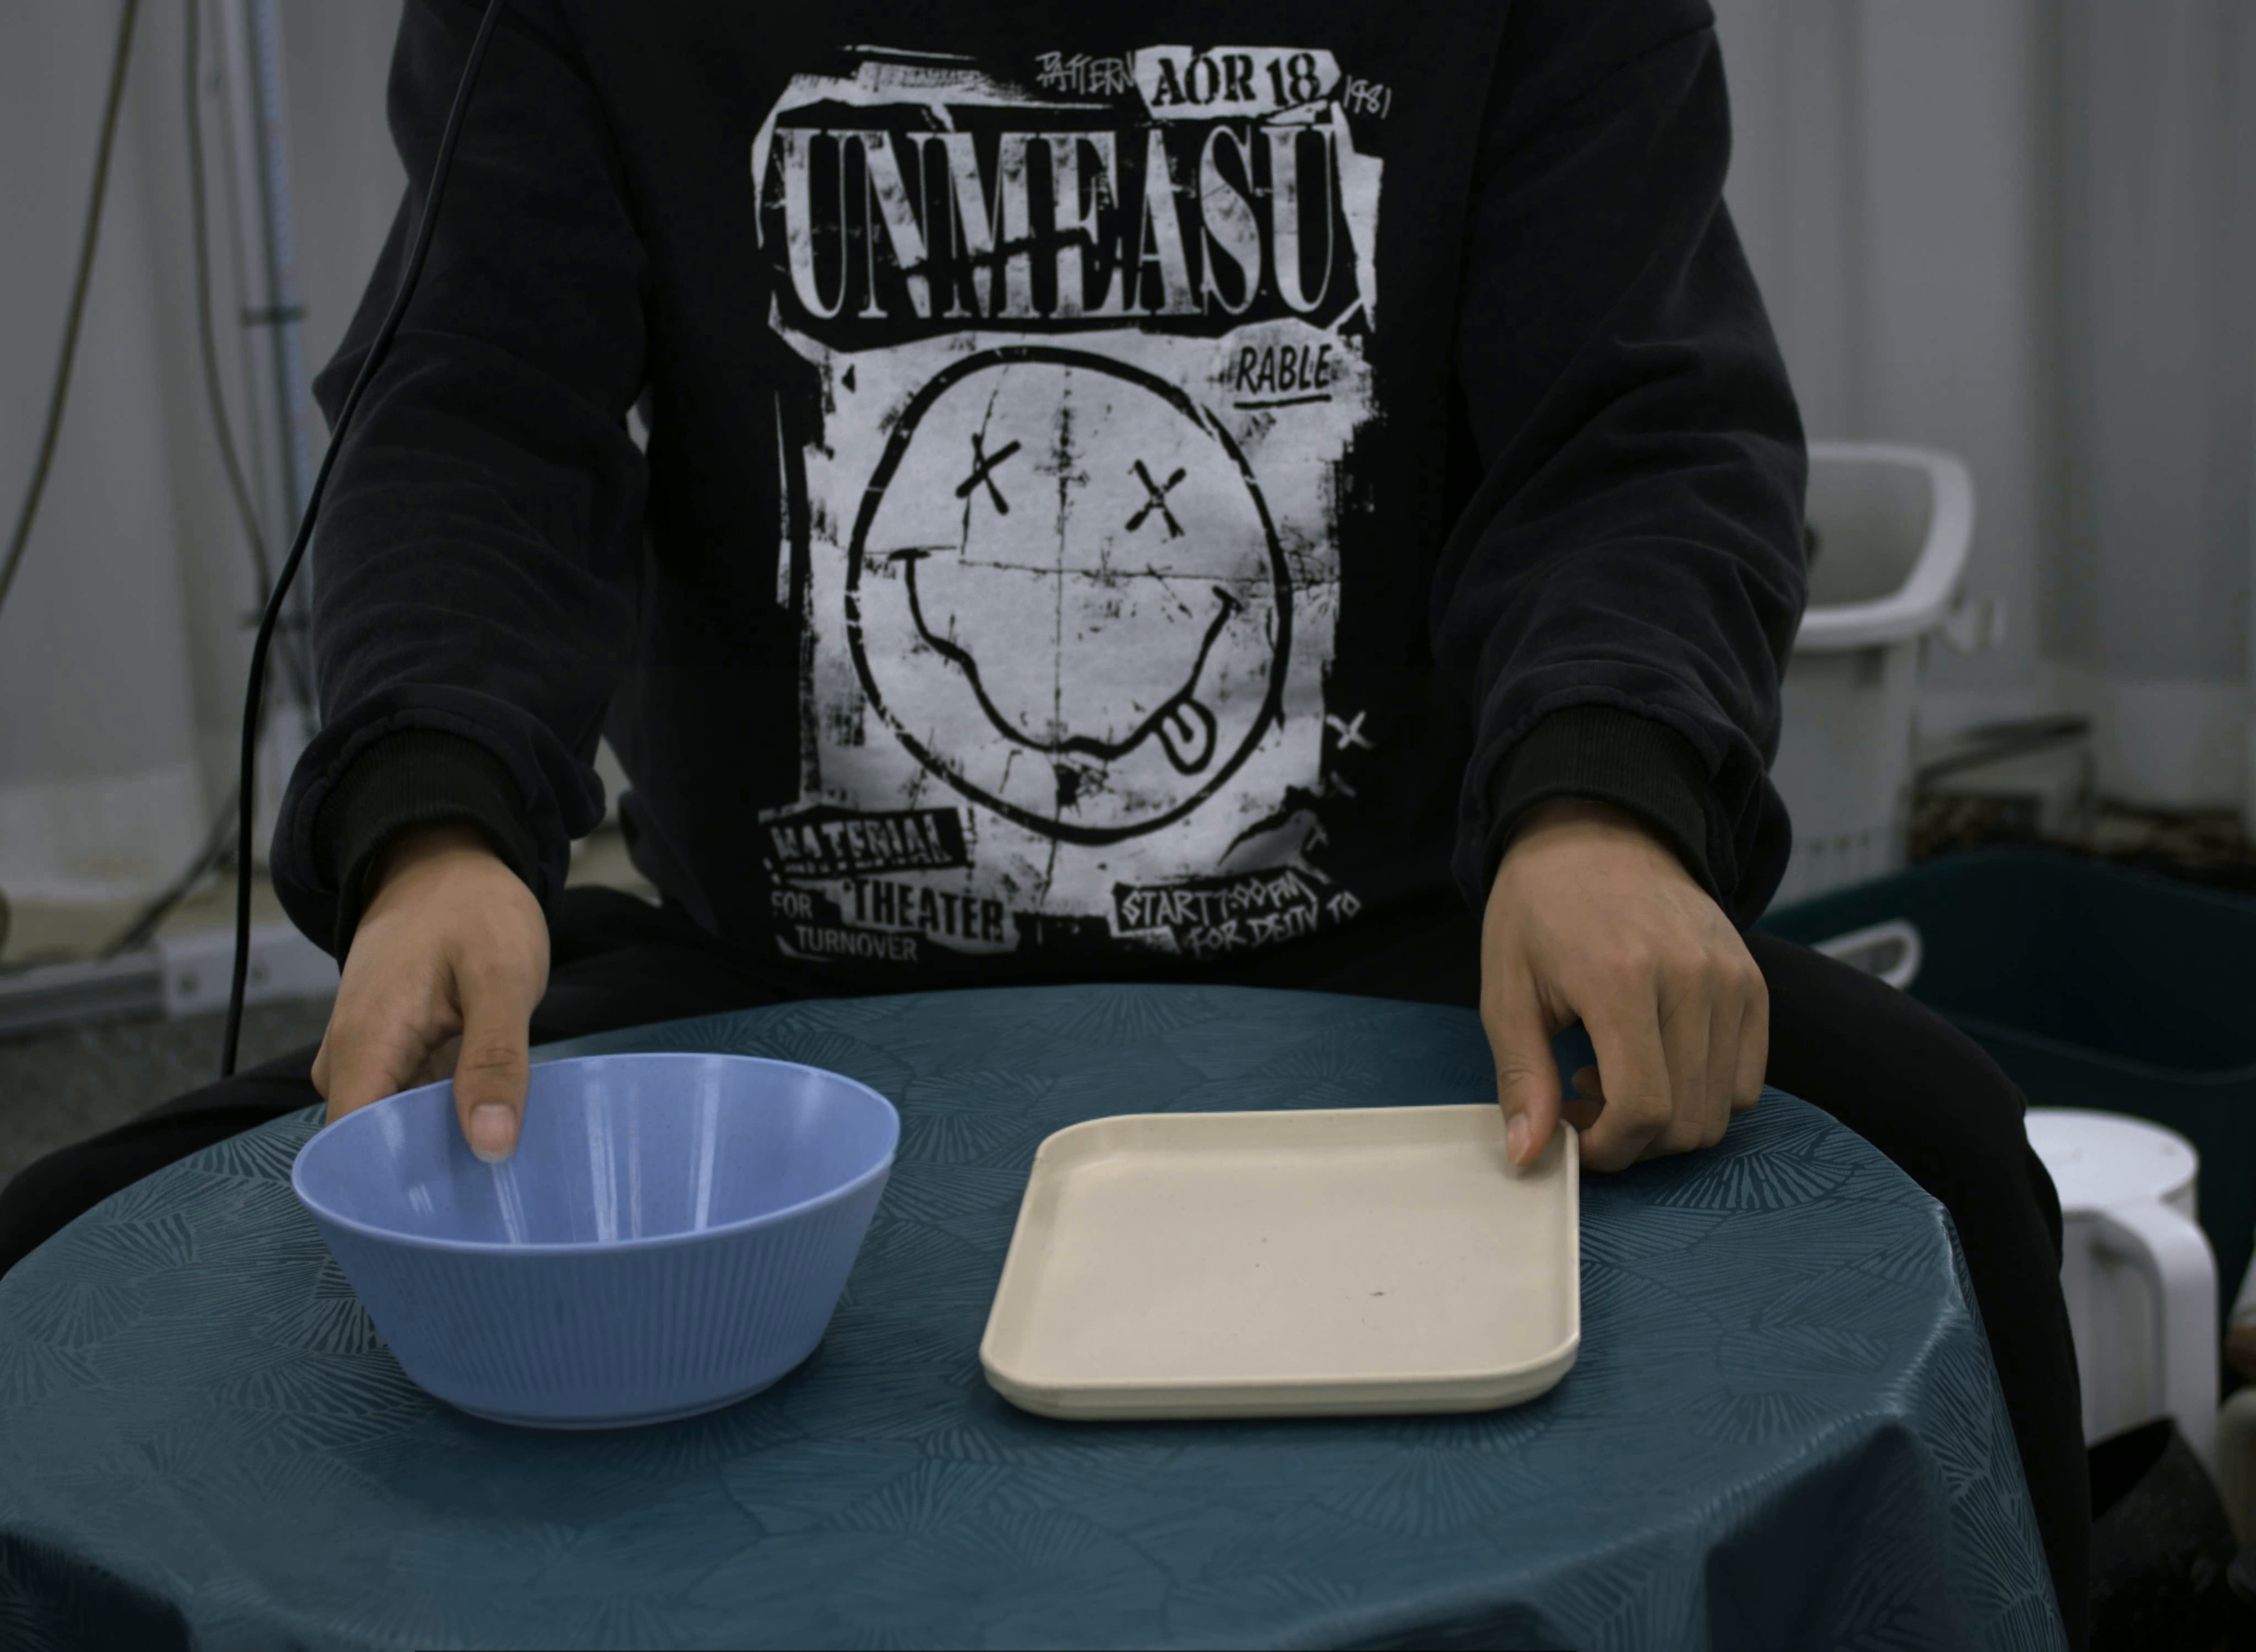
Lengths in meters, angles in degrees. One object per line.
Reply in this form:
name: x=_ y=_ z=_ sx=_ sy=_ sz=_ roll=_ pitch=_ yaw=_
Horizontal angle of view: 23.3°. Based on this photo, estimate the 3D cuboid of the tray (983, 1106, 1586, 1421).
tray: x=0.049 y=0.129 z=1.618 sx=0.171 sy=0.017 sz=0.241 roll=-1 pitch=15 yaw=5

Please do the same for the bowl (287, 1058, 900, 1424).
bowl: x=-0.152 y=0.122 z=1.578 sx=0.175 sy=0.070 sz=0.177 roll=-2 pitch=14 yaw=0
